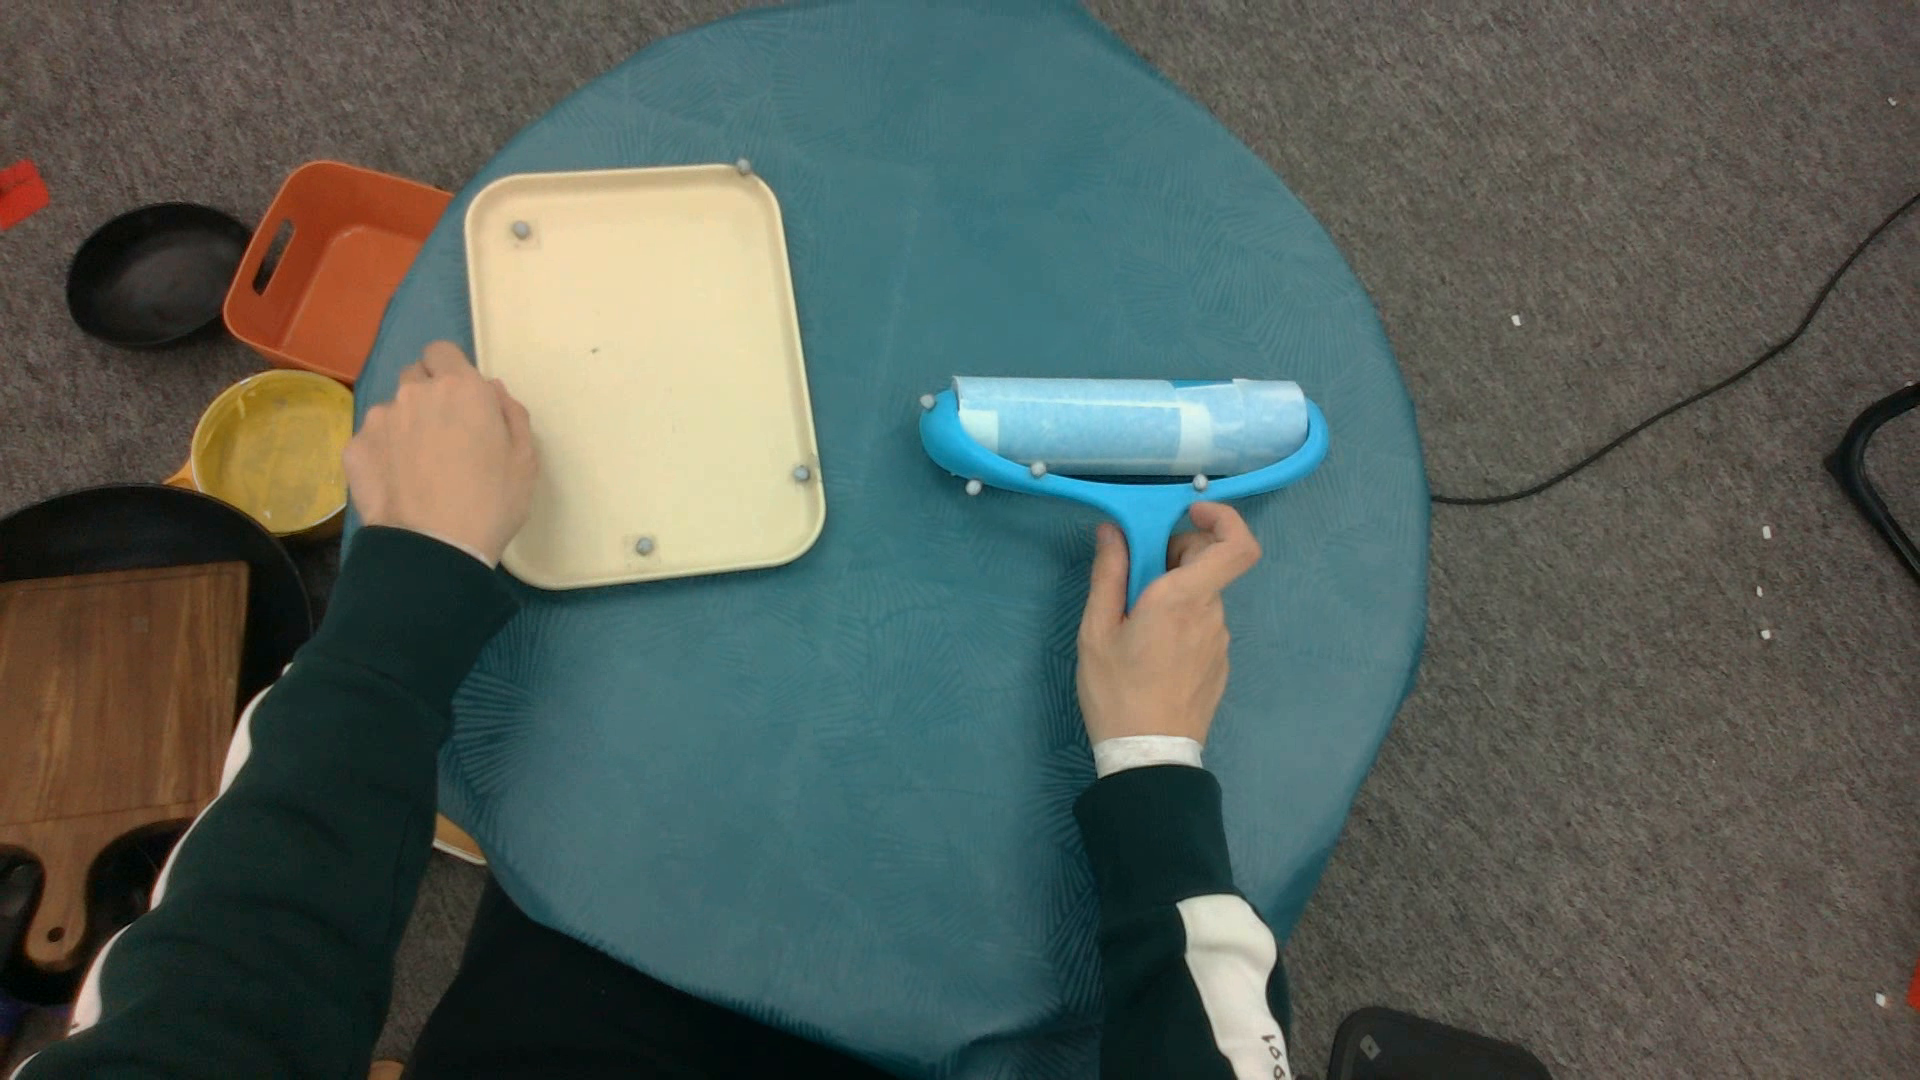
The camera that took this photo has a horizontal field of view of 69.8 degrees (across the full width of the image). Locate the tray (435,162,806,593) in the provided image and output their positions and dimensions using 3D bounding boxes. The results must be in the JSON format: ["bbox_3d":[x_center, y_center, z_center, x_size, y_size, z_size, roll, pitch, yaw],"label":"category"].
[{"bbox_3d":[-0.184,-0.092,0.743,0.171,0.017,0.240,-8,74,-14],"label":"tray"}]

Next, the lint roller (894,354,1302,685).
[{"bbox_3d":[0.086,-0.016,0.745,0.229,0.067,0.180,-5,73,-12],"label":"lint roller"}]
